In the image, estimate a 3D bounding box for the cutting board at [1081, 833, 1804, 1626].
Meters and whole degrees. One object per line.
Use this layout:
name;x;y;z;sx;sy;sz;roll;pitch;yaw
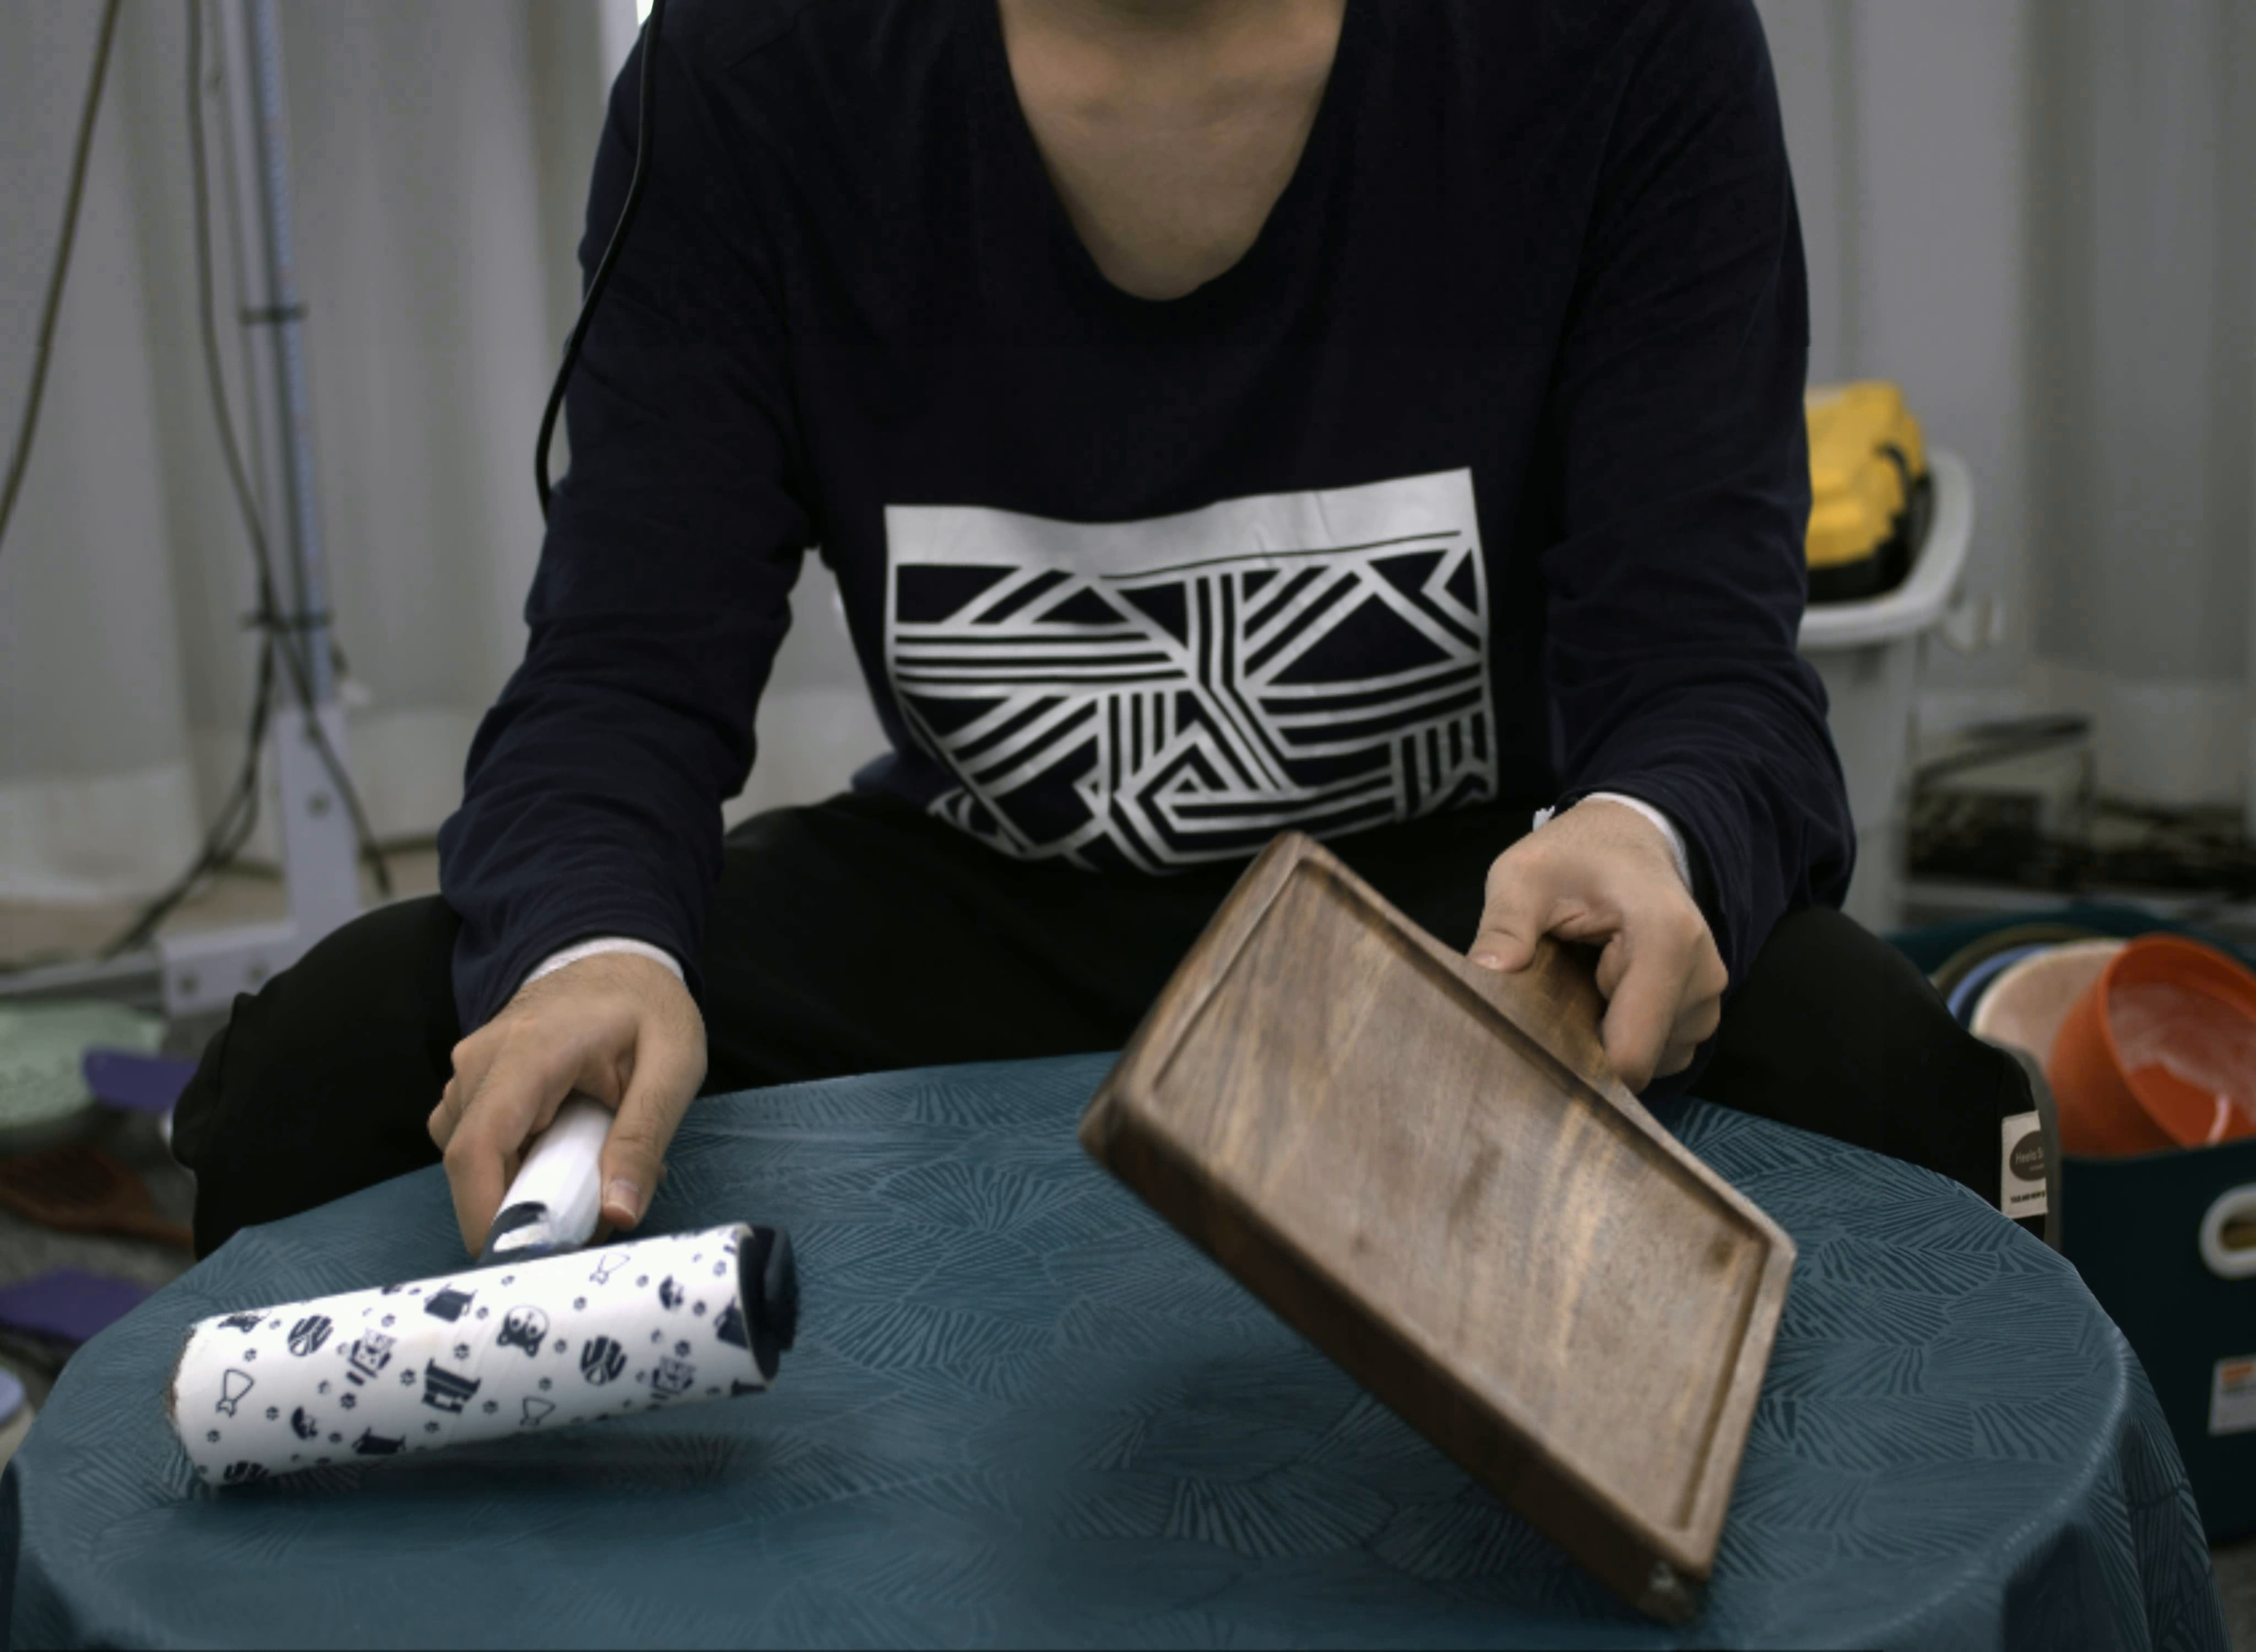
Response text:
cutting board;0.102;0.088;1.525;0.201;0.023;0.354;37;20;-1

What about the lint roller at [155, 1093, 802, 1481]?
lint roller;-0.174;0.118;1.599;0.176;0.050;0.248;-11;15;6
